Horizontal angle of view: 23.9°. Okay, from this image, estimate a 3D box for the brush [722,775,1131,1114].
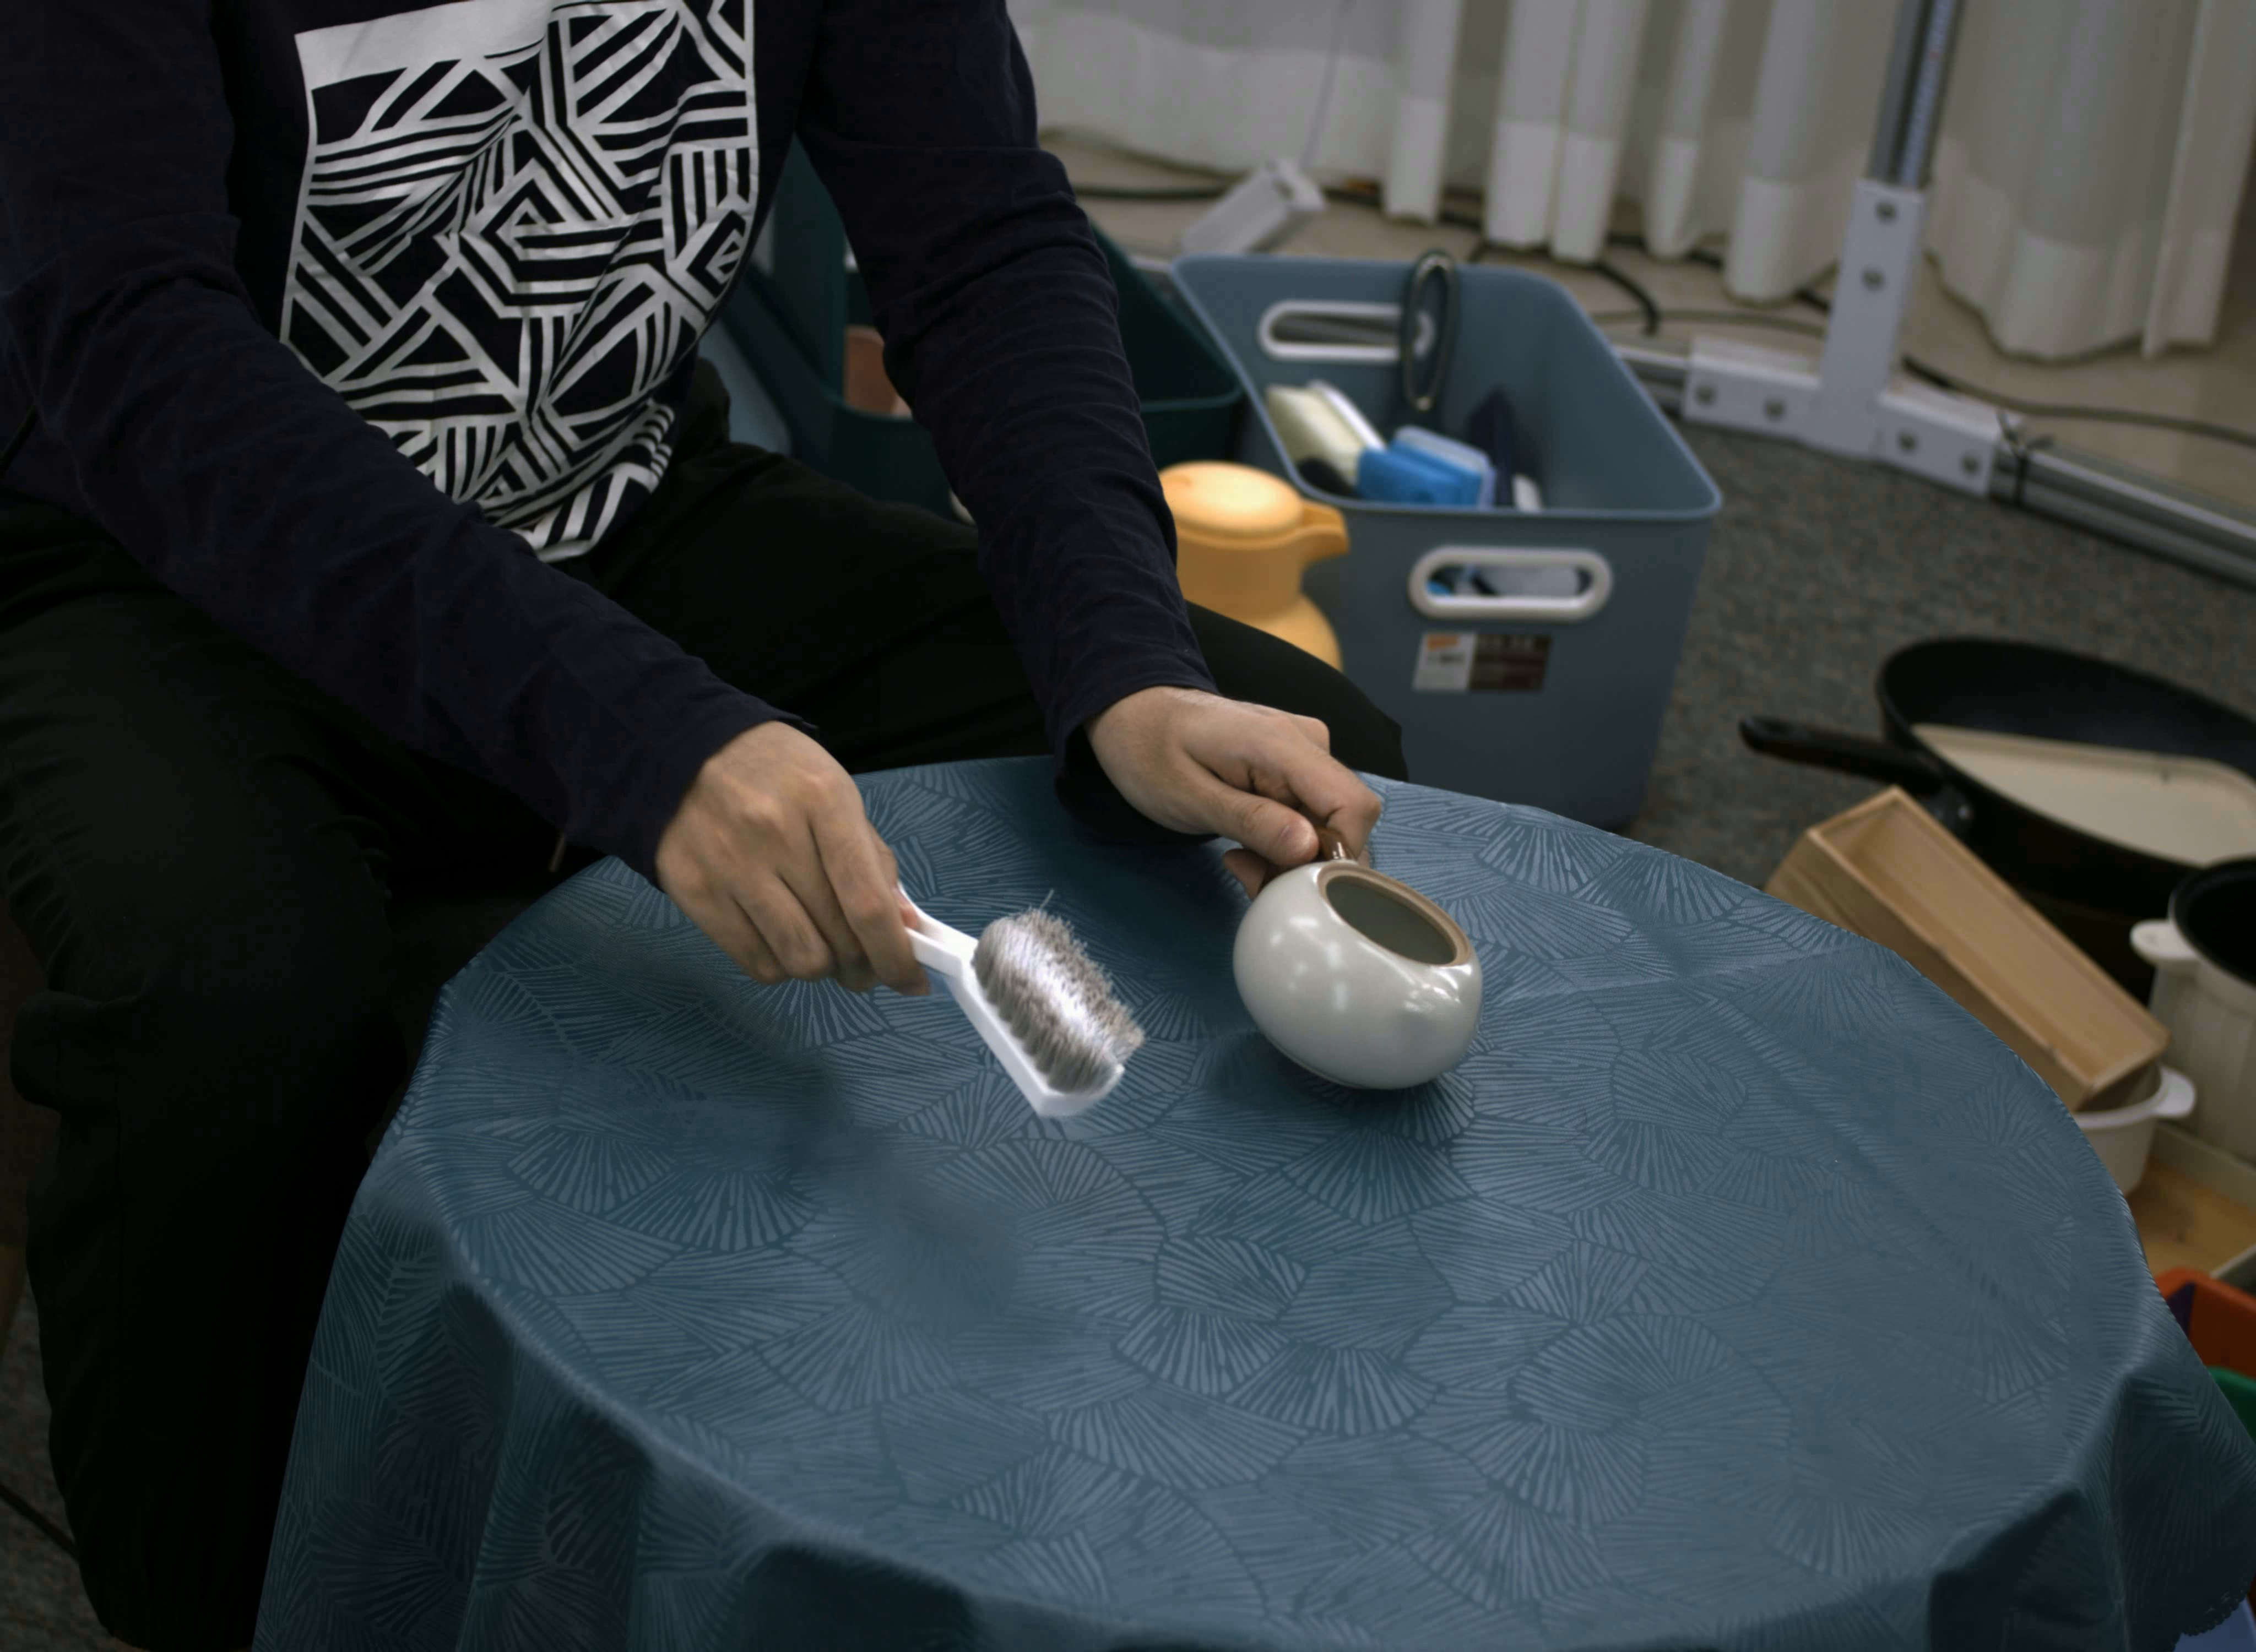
[{"bbox_3d":[-0.074,0.023,1.814,0.034,0.050,0.246,-15,35,-28],"label":"brush"}]

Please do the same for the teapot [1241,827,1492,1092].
[{"bbox_3d":[0.080,0.049,1.889,0.091,0.059,0.129,10,30,-34],"label":"teapot"}]
